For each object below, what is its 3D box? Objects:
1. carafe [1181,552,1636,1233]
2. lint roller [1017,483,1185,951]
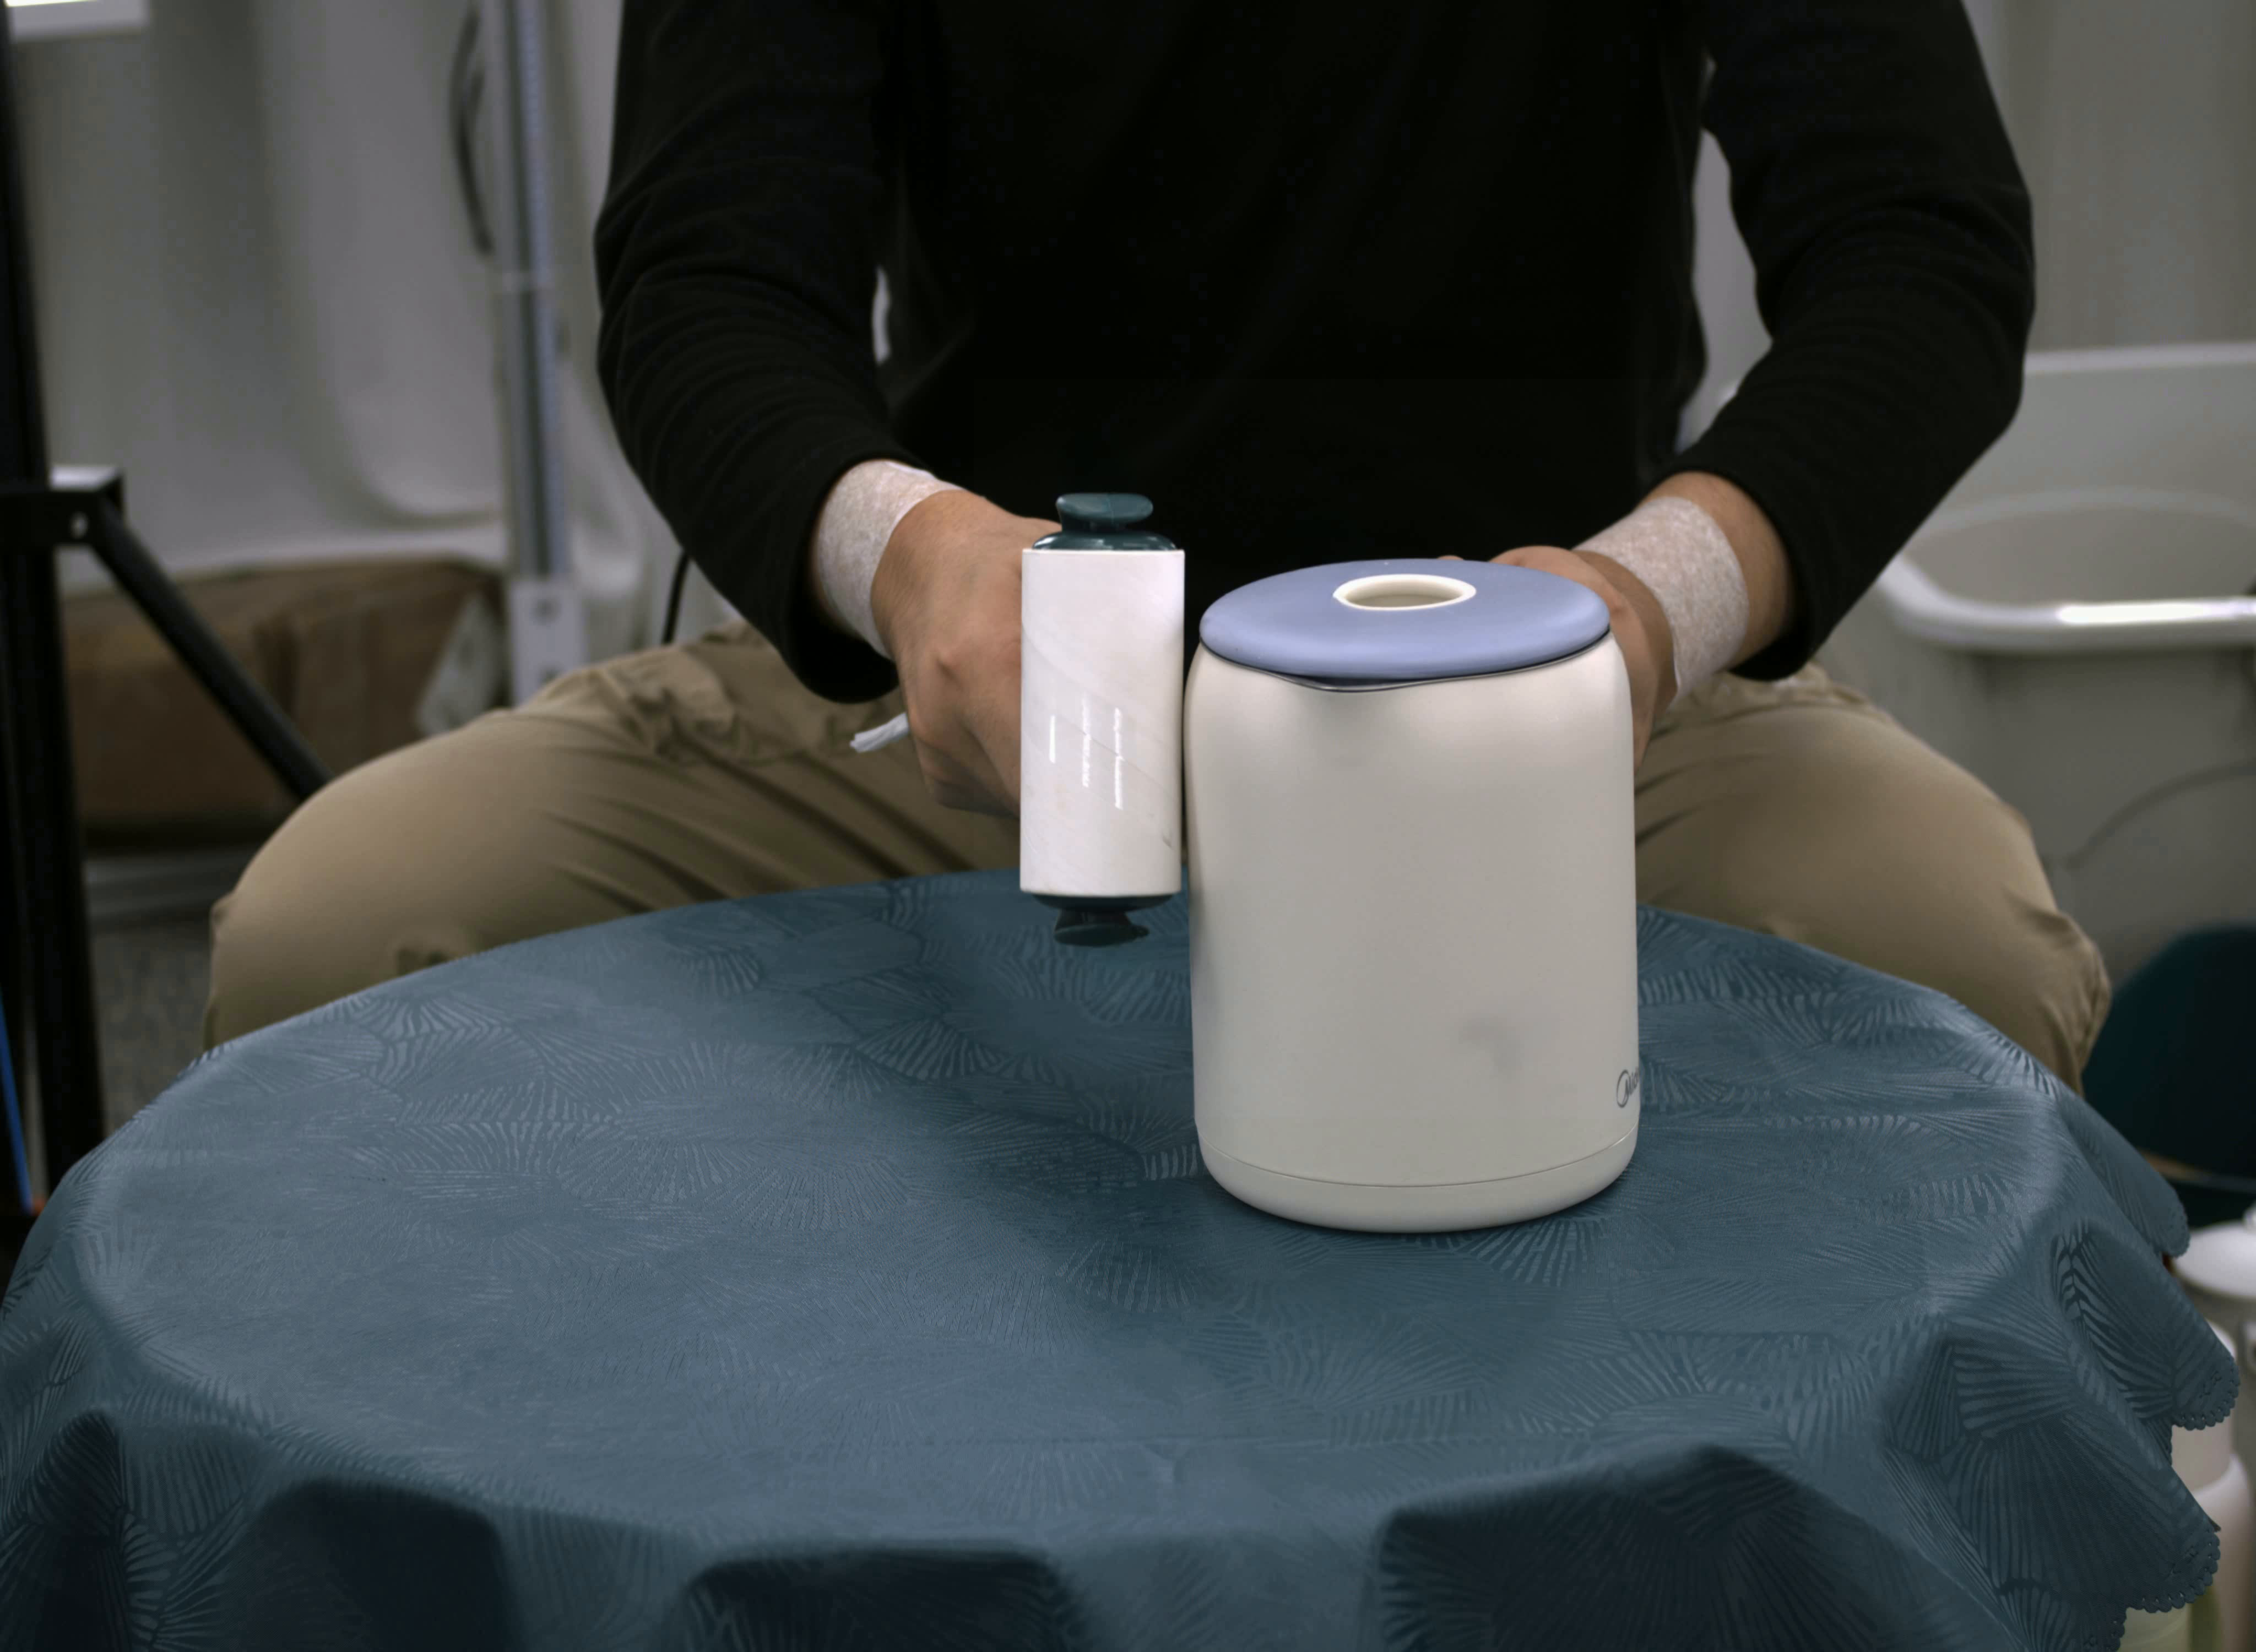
[{"bbox_3d":[0.089,0.012,1.566,0.133,0.182,0.189,3,14,17],"label":"carafe"},{"bbox_3d":[-0.022,-0.034,1.605,0.047,0.135,0.182,1,2,-13],"label":"lint roller"}]
